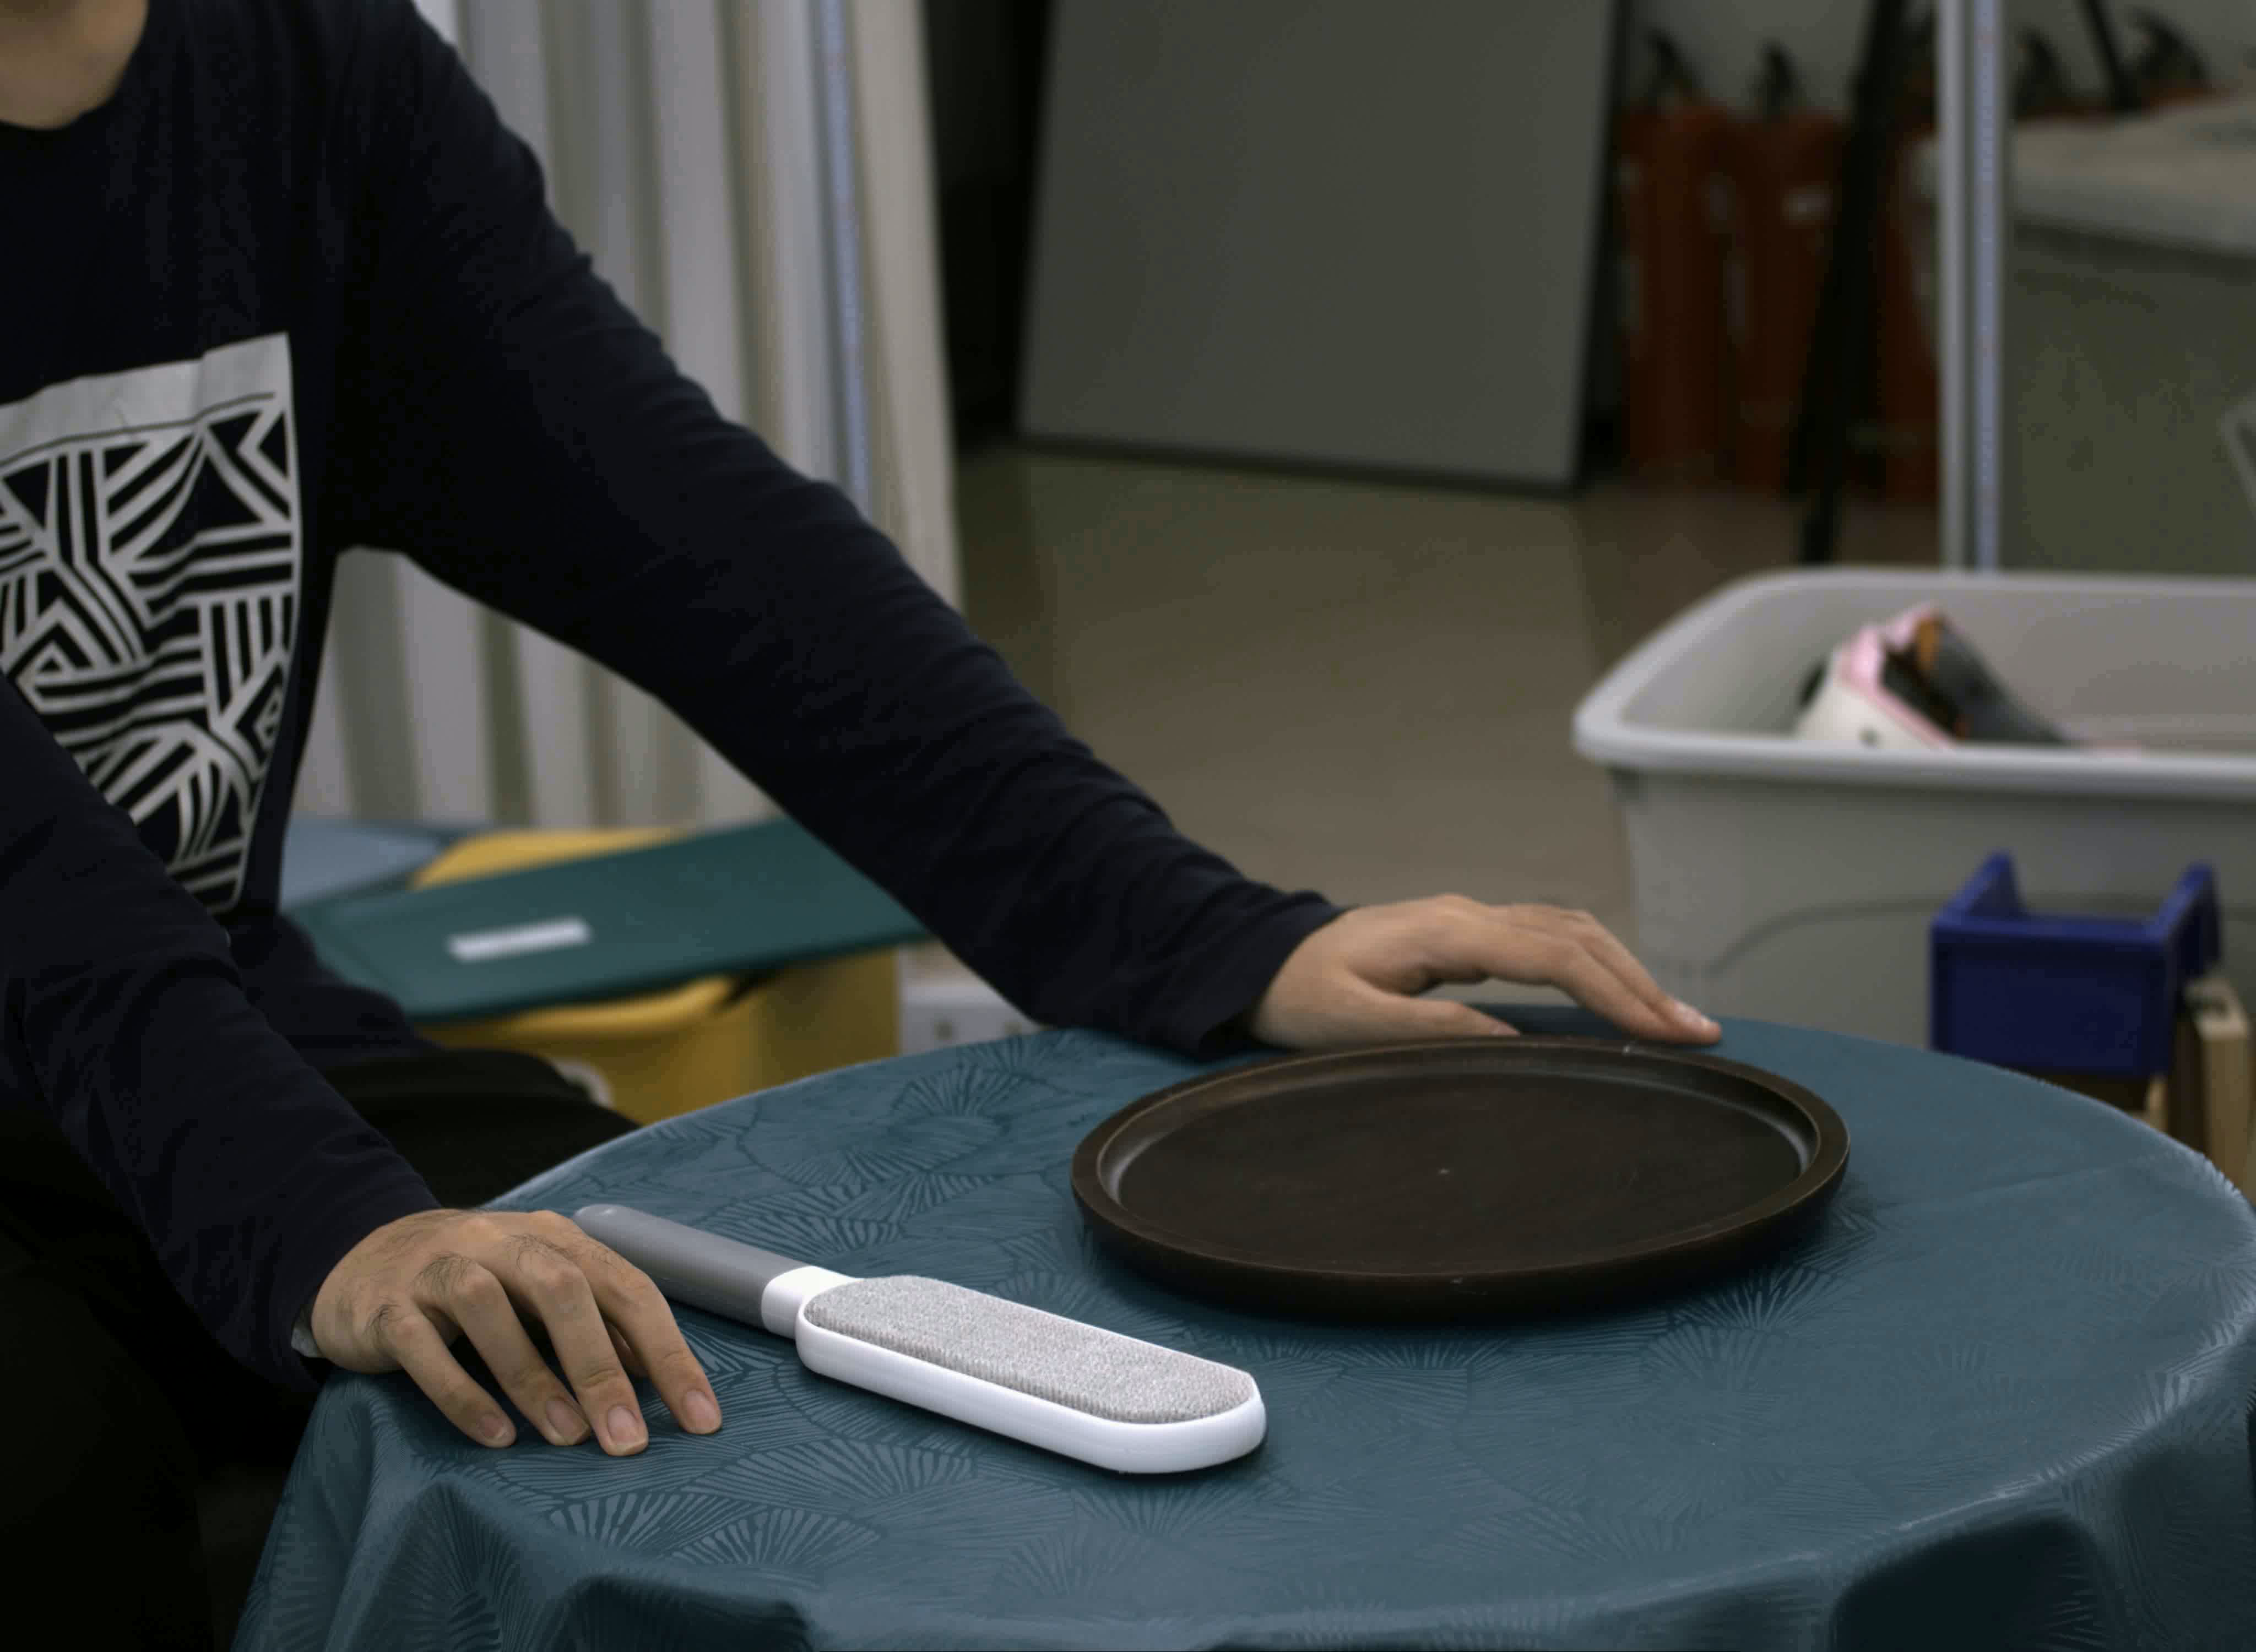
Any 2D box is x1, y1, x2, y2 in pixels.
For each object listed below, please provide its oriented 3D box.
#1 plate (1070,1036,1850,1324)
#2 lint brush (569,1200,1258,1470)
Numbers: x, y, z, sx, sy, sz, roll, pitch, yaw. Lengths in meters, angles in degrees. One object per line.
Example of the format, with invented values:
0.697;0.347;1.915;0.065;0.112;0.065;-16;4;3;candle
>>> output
0.106;0.112;1.730;0.251;0.029;0.255;-3;13;0;plate
-0.072;0.149;1.625;0.059;0.021;0.312;-21;21;-37;lint brush
